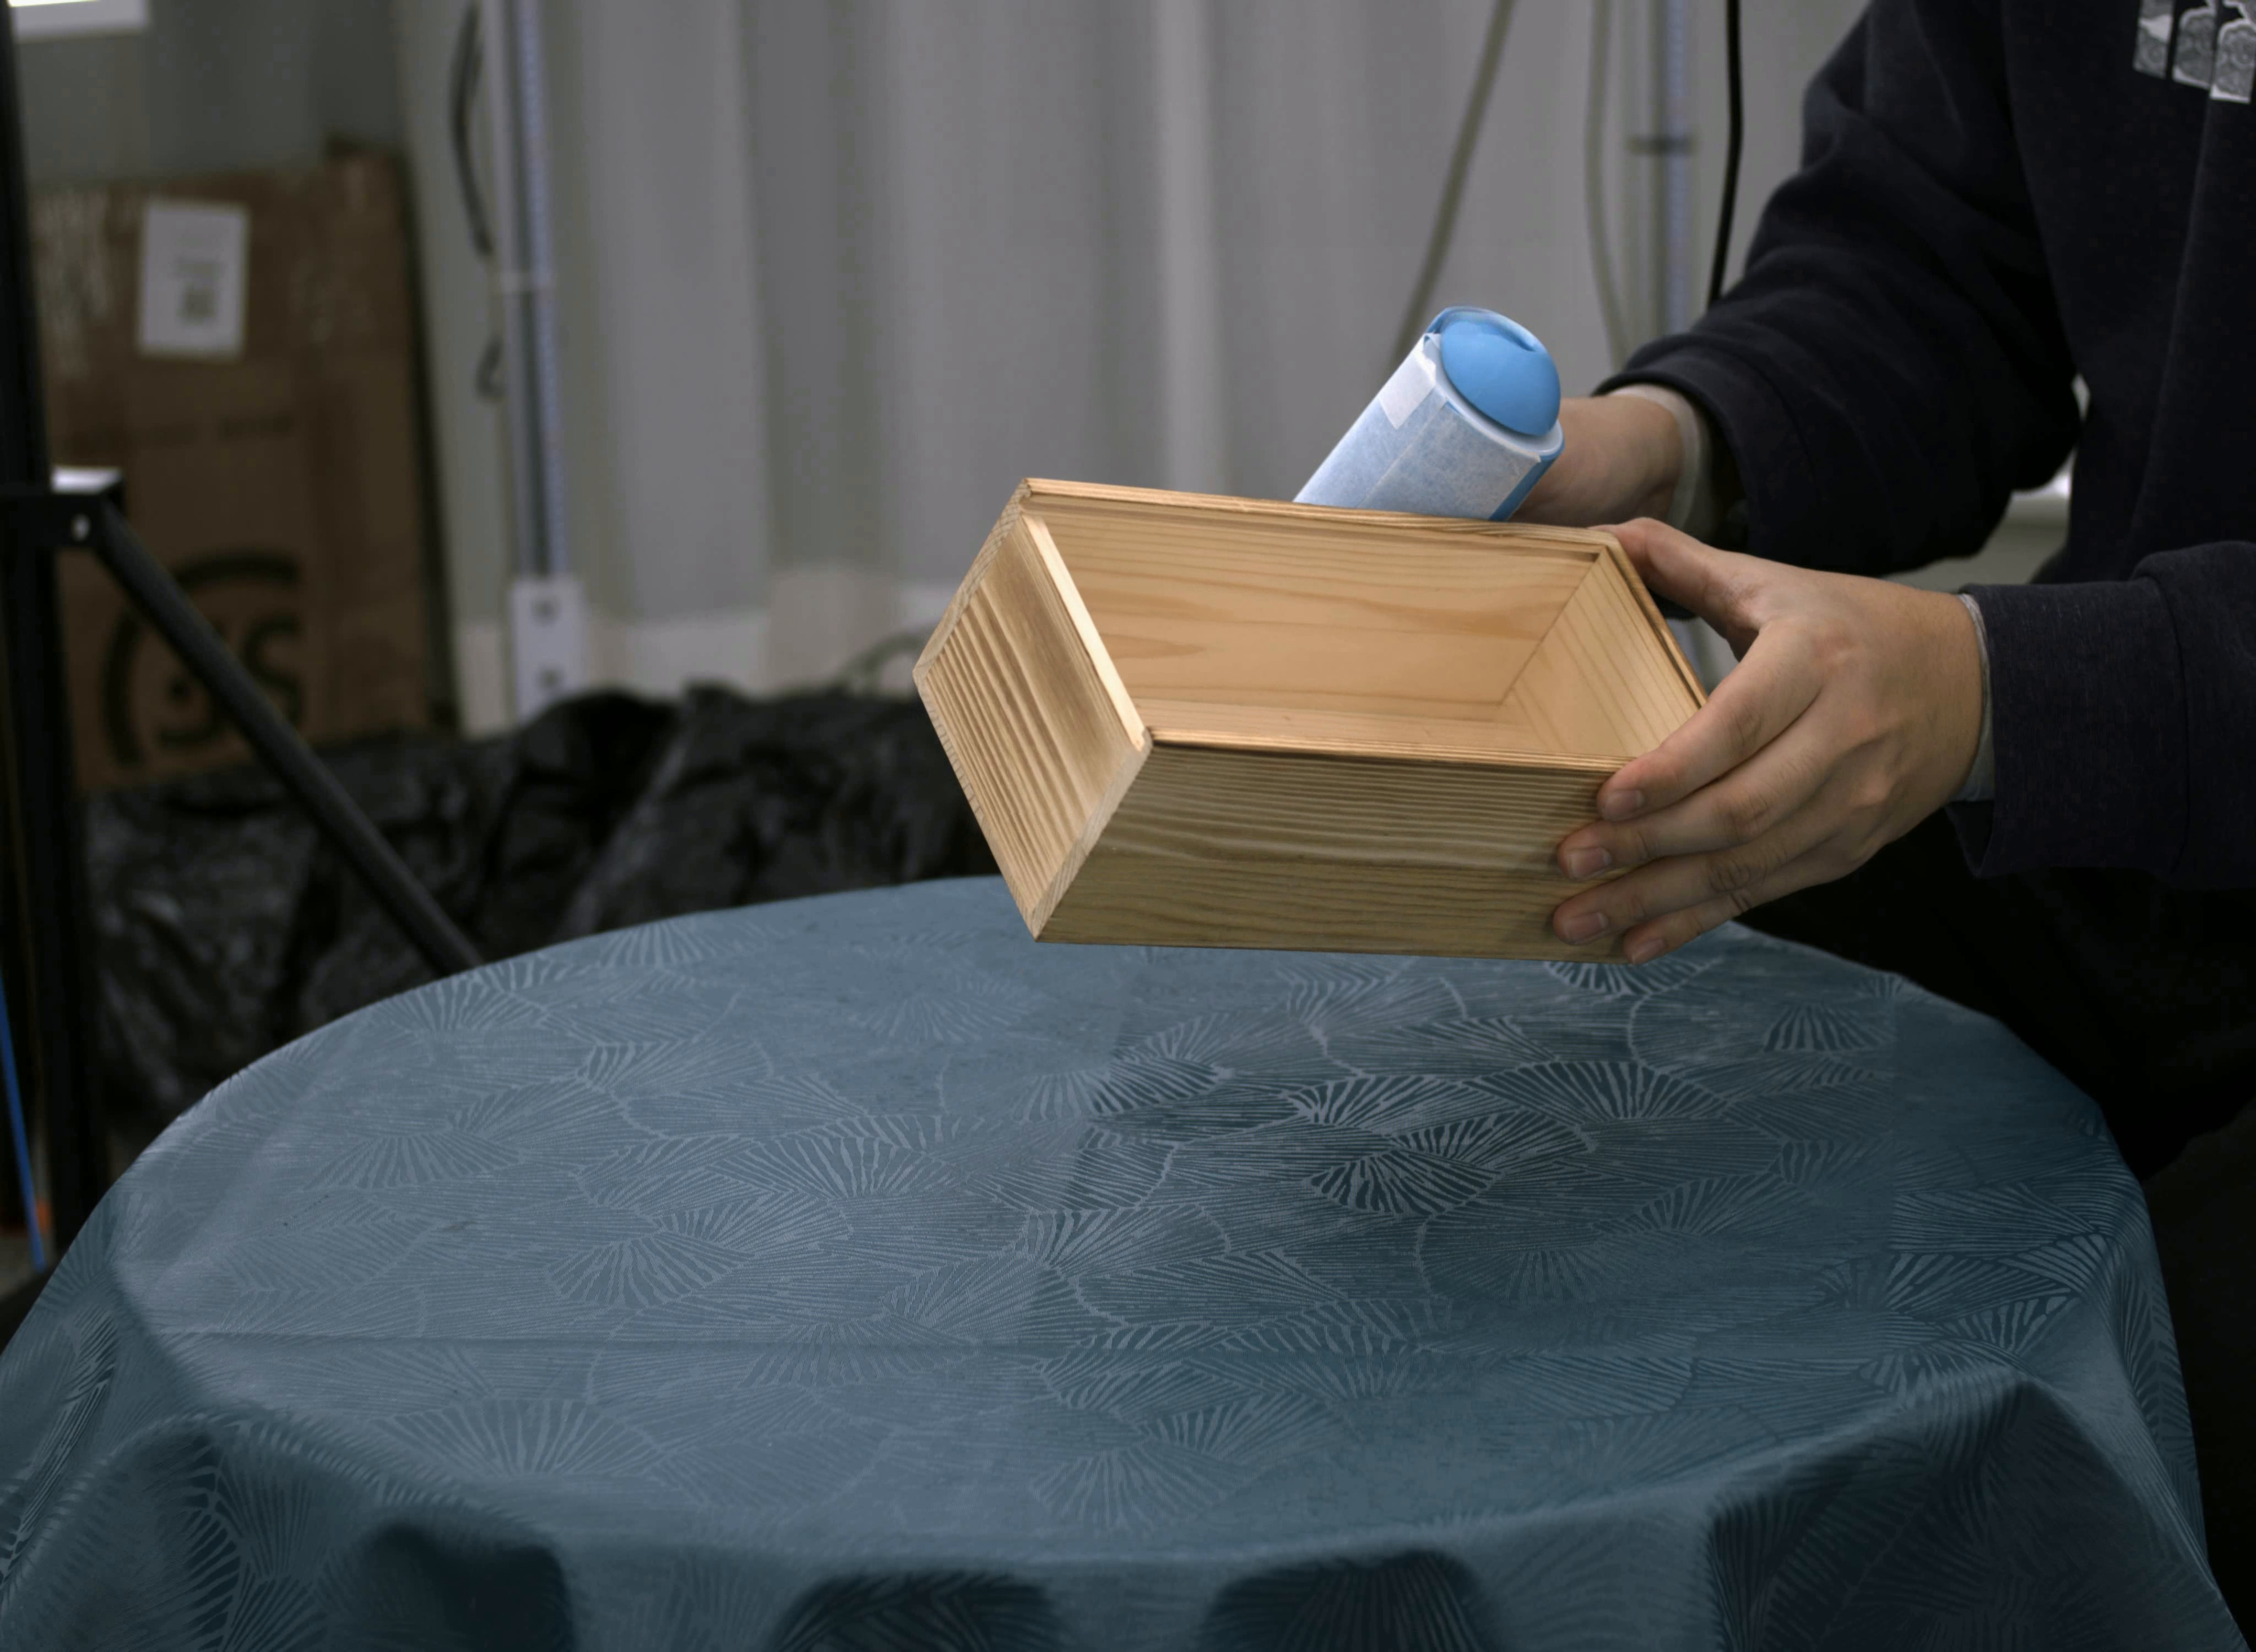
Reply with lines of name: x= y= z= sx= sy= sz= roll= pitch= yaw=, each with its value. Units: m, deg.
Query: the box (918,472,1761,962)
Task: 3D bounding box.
box: x=0.061 y=-0.029 z=1.526 sx=0.206 sy=0.081 sz=0.109 roll=3 pitch=44 yaw=-32

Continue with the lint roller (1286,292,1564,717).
lint roller: x=0.080 y=-0.078 z=1.664 sx=0.068 sy=0.230 sz=0.177 roll=41 pitch=27 yaw=9
